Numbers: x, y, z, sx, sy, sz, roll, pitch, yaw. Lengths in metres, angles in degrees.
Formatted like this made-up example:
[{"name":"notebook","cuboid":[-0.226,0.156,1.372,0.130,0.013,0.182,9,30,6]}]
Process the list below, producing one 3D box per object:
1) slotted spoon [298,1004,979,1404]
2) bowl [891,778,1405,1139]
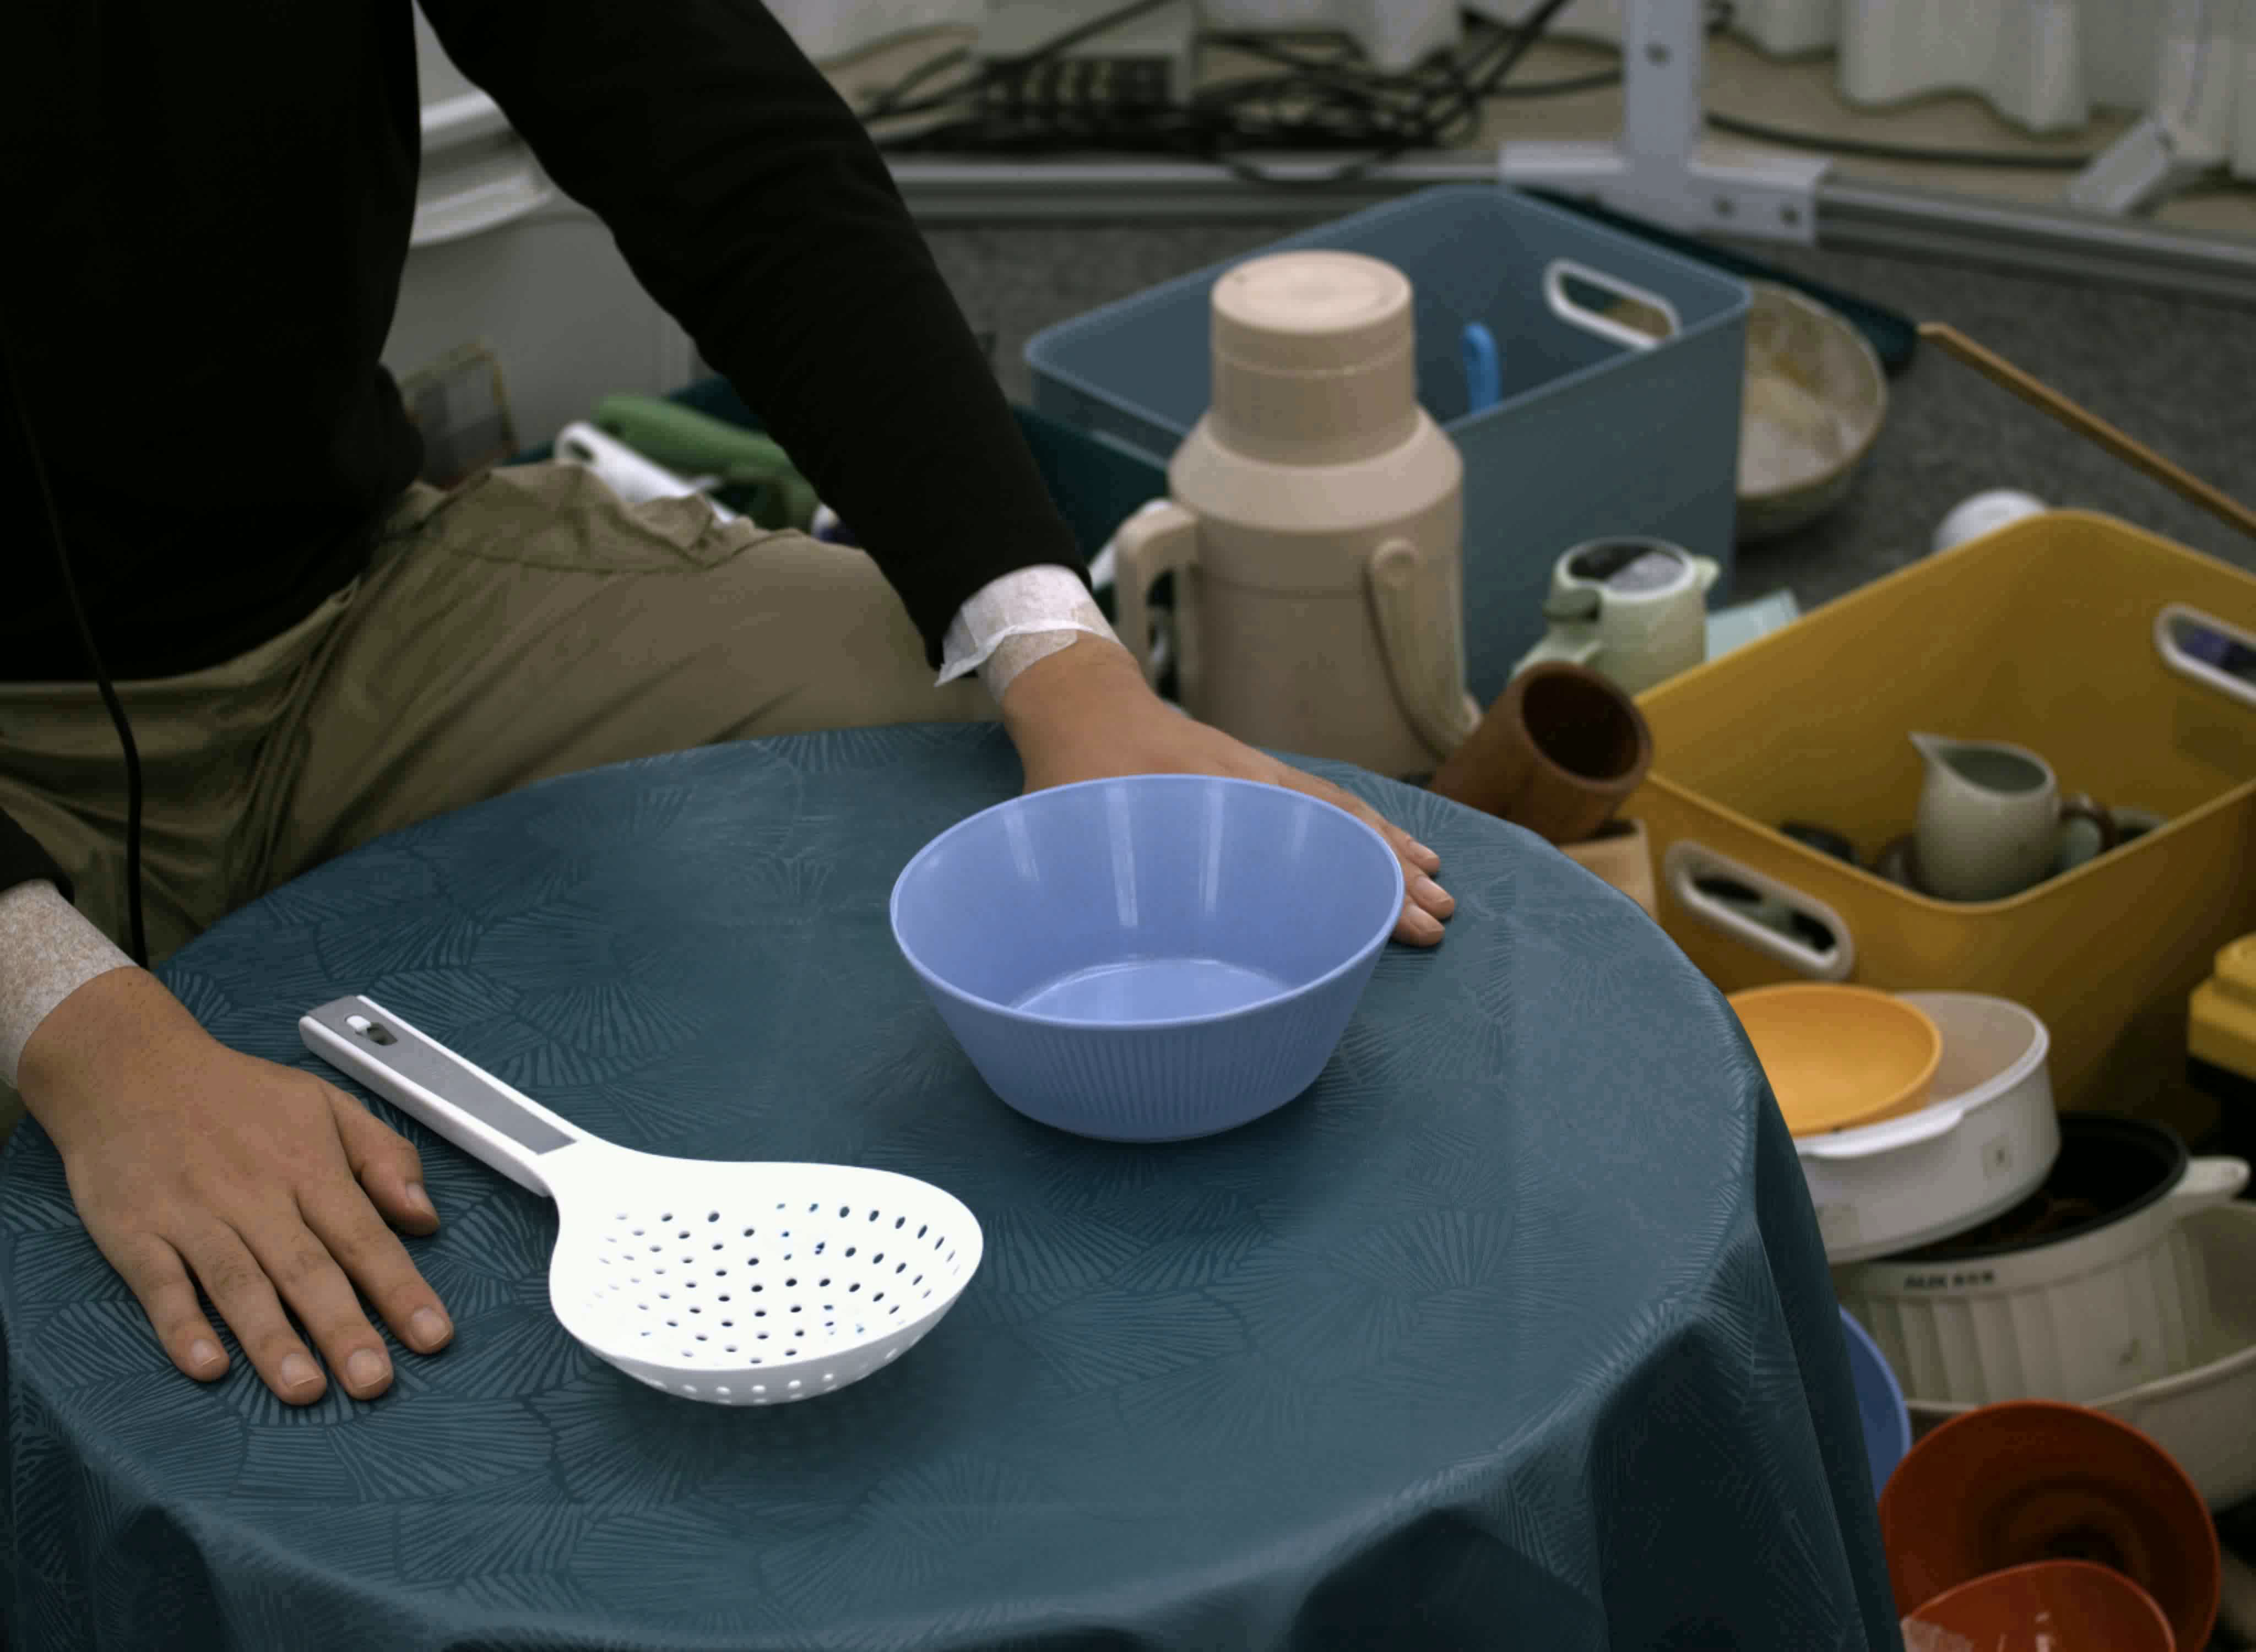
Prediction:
[{"name":"slotted spoon","cuboid":[-0.178,0.116,1.841,0.137,0.045,0.350,-21,31,-32]},{"name":"bowl","cuboid":[0.008,0.051,1.922,0.175,0.069,0.178,-2,26,1]}]
